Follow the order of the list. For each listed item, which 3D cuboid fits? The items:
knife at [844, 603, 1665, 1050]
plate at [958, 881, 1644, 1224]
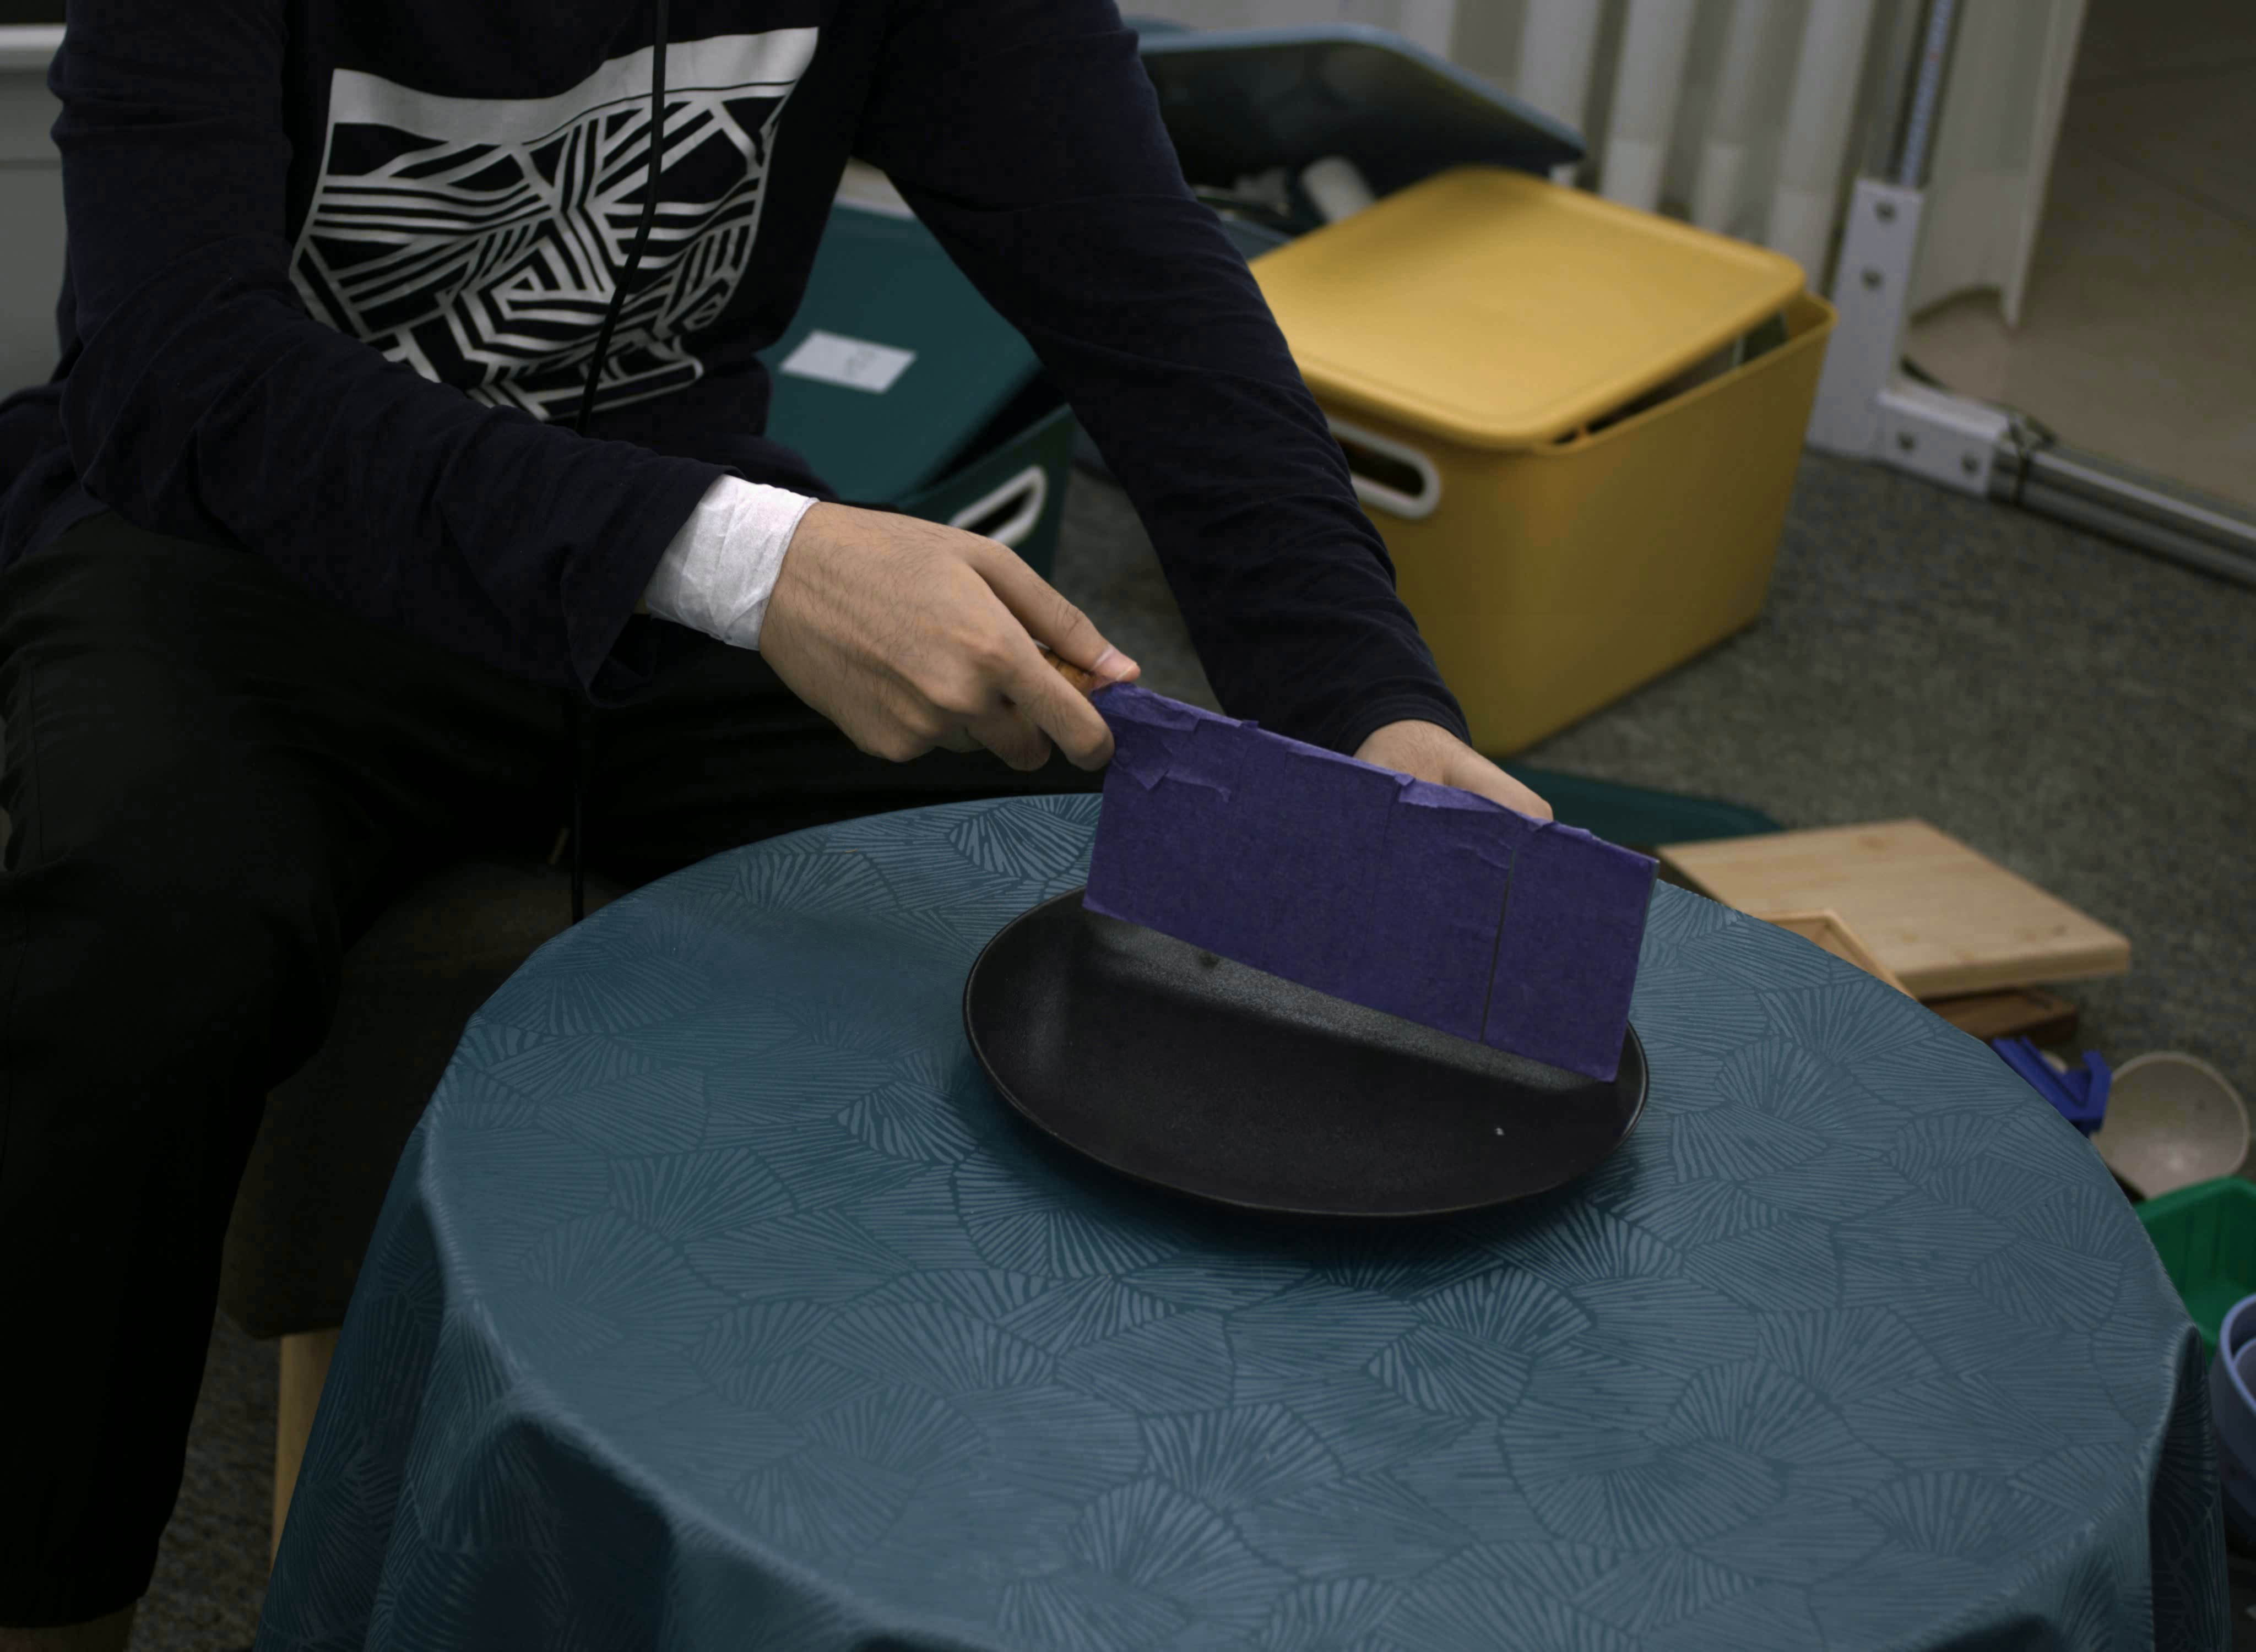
[{"bbox_3d":[0.037,0.004,1.899,0.316,0.103,0.032,18,24,21],"label":"knife"},{"bbox_3d":[0.060,0.081,1.875,0.243,0.023,0.246,5,27,-3],"label":"plate"}]
